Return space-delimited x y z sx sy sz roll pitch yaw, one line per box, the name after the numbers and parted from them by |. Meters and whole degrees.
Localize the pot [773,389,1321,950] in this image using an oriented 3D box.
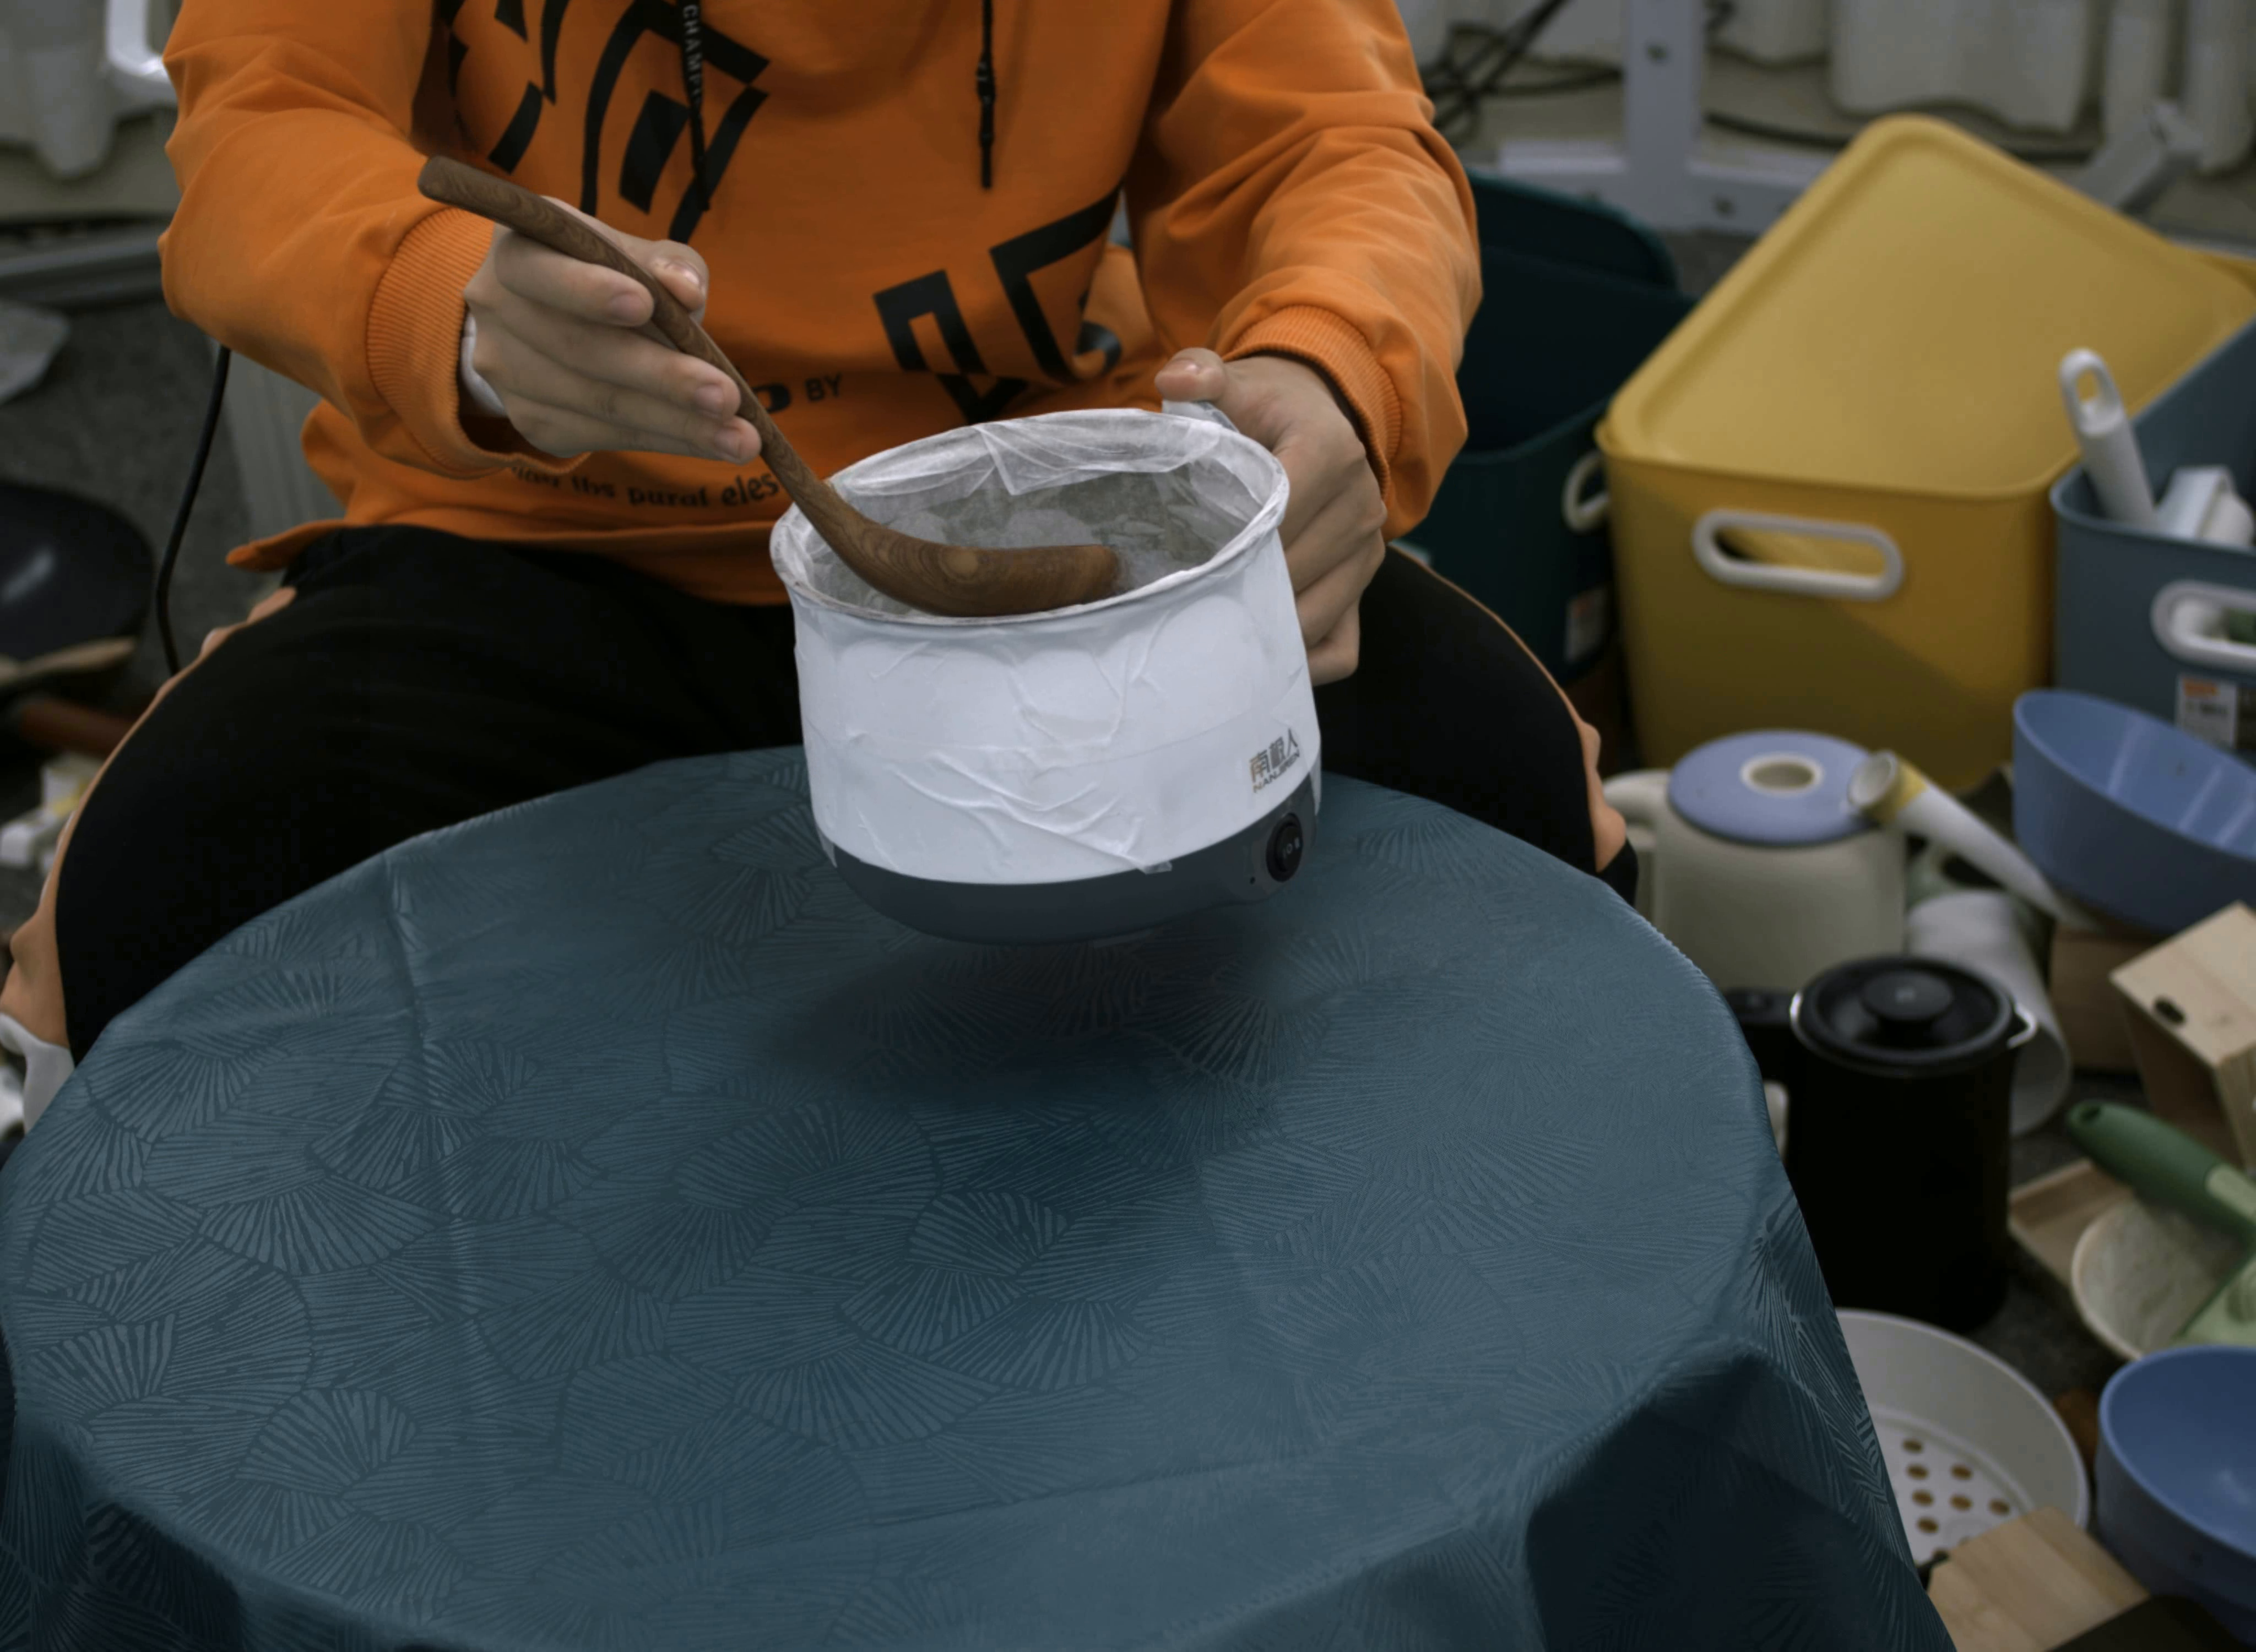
-0.011 -0.061 1.943 0.177 0.135 0.237 8 29 30 | pot

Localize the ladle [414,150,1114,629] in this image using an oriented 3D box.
-0.115 -0.148 1.830 0.065 0.259 0.076 -50 9 -11 | ladle
